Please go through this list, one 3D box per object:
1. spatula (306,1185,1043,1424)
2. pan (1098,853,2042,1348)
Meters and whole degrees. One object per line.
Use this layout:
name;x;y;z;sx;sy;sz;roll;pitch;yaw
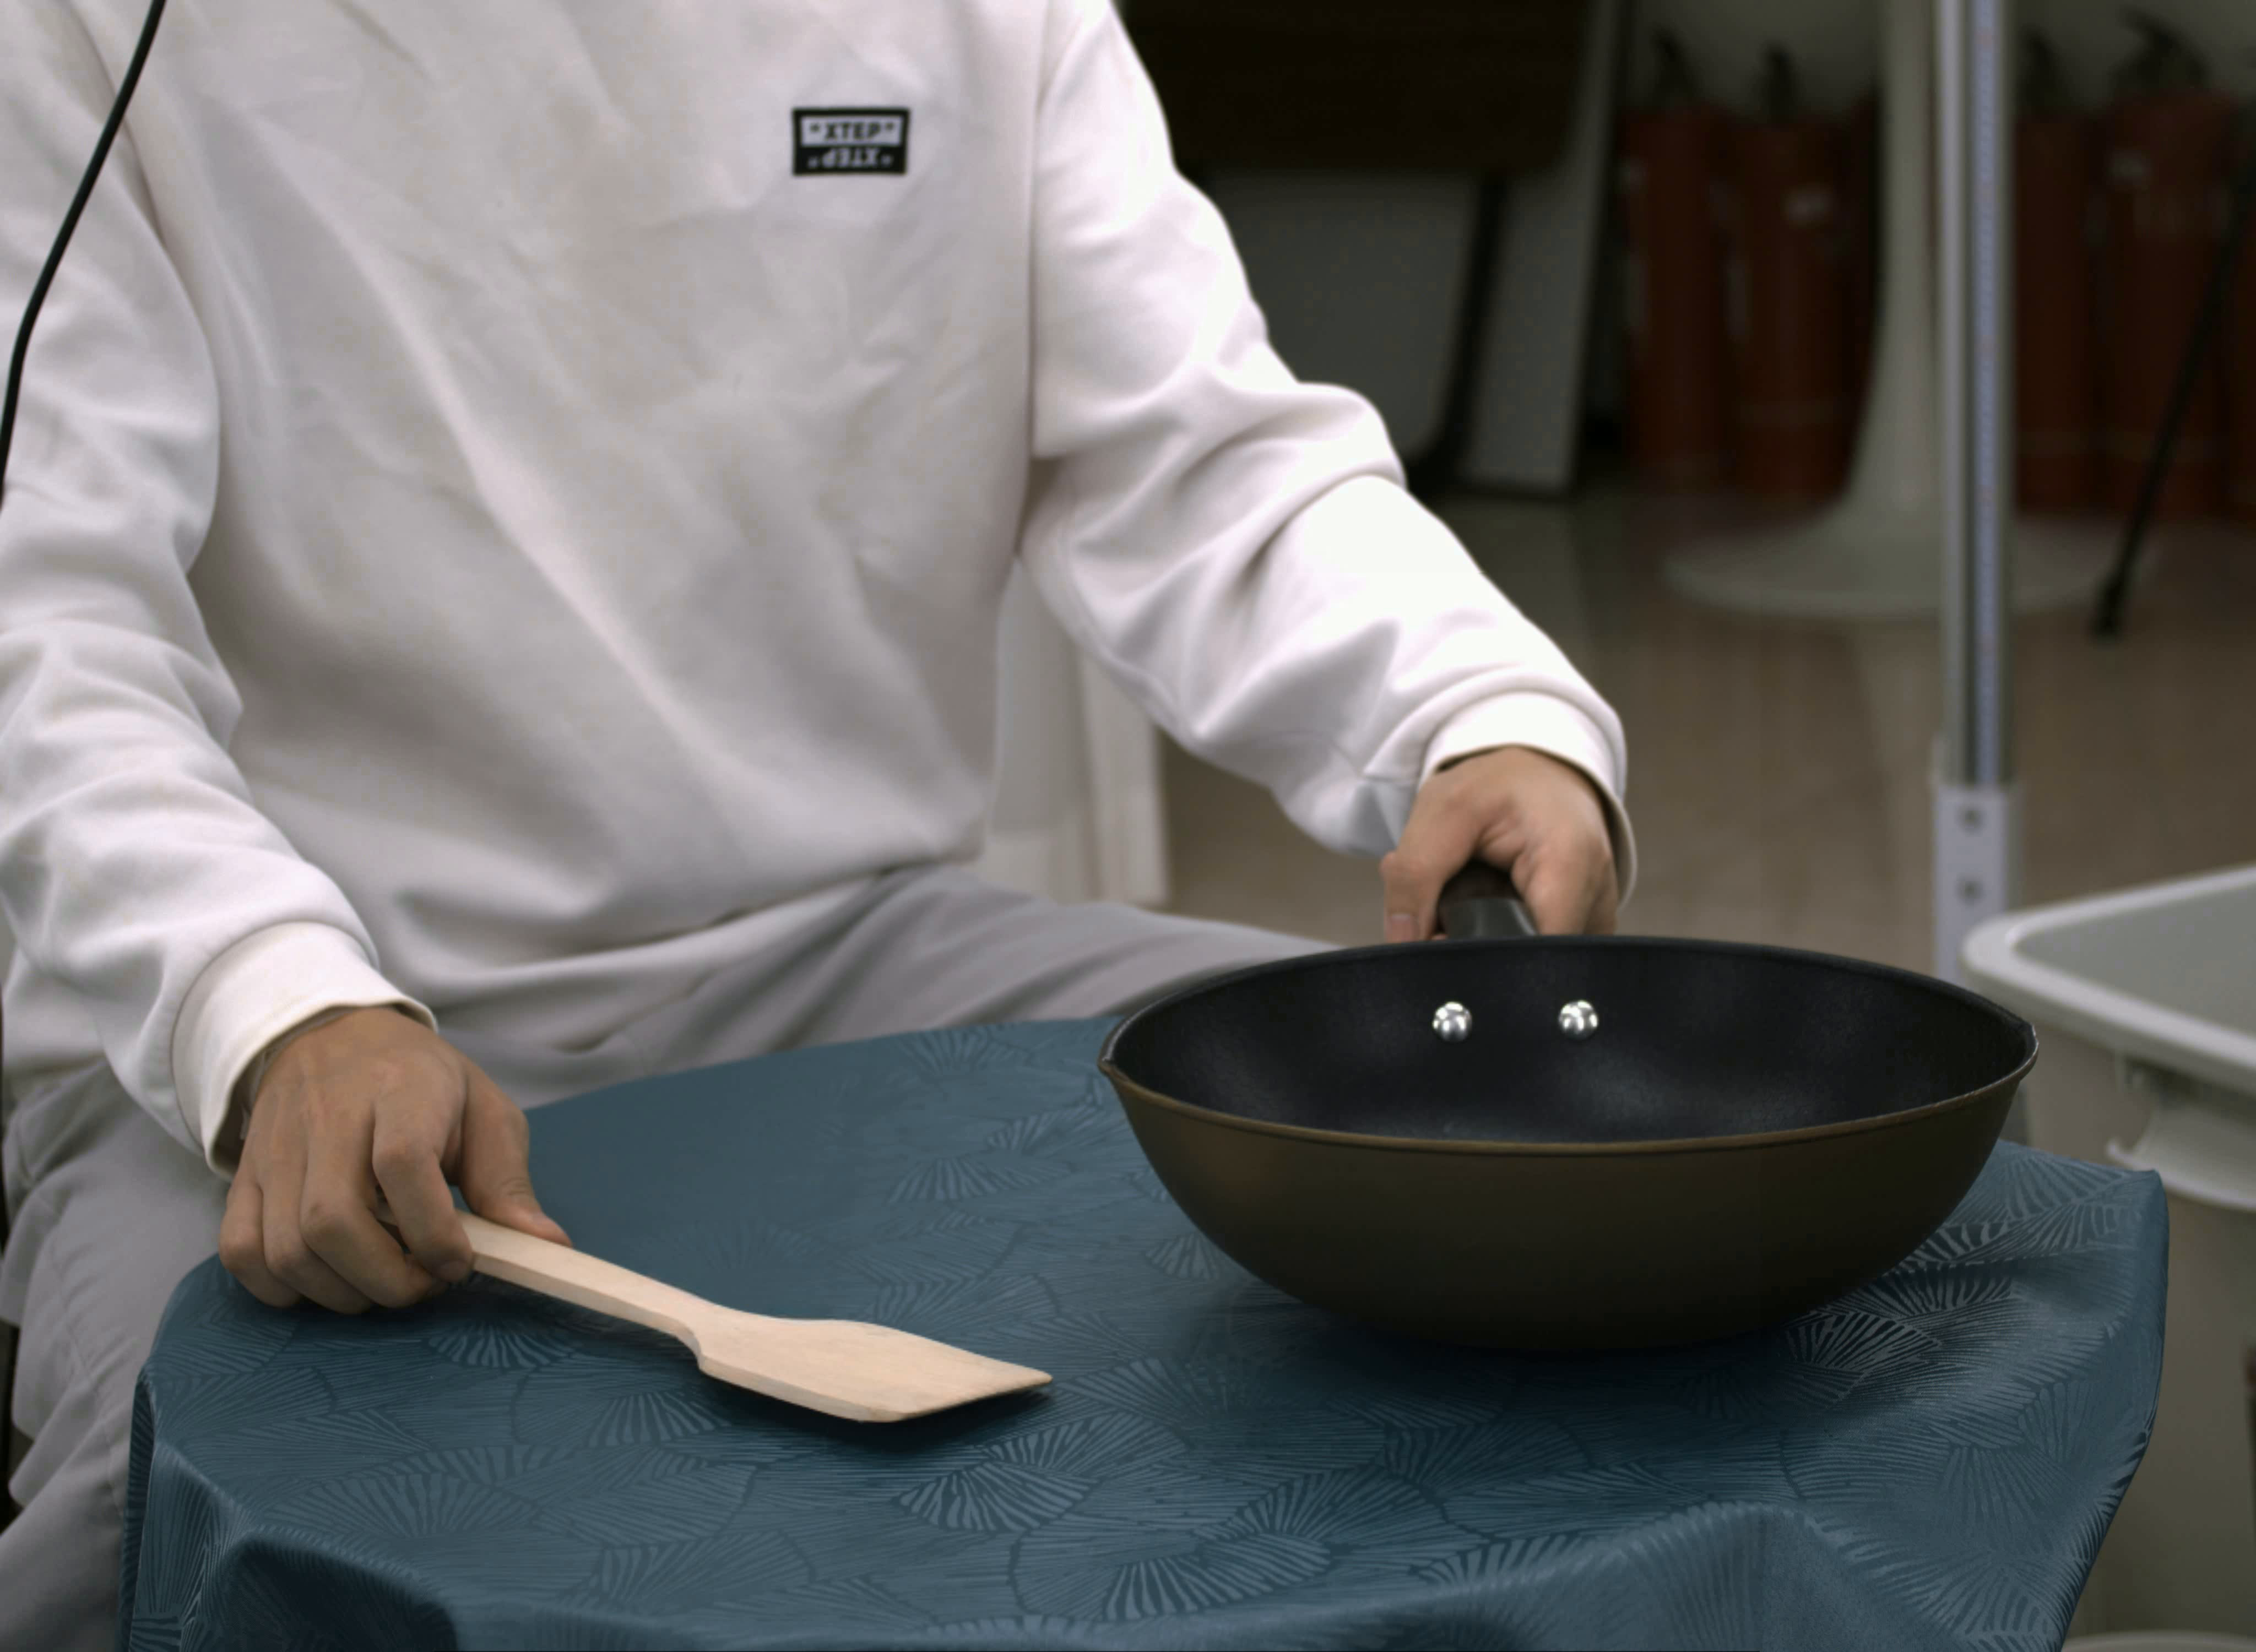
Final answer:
spatula;-0.152;0.145;1.659;0.295;0.011;0.071;12;14;41
pan;0.129;0.084;1.717;0.284;0.088;0.464;-2;9;-2
